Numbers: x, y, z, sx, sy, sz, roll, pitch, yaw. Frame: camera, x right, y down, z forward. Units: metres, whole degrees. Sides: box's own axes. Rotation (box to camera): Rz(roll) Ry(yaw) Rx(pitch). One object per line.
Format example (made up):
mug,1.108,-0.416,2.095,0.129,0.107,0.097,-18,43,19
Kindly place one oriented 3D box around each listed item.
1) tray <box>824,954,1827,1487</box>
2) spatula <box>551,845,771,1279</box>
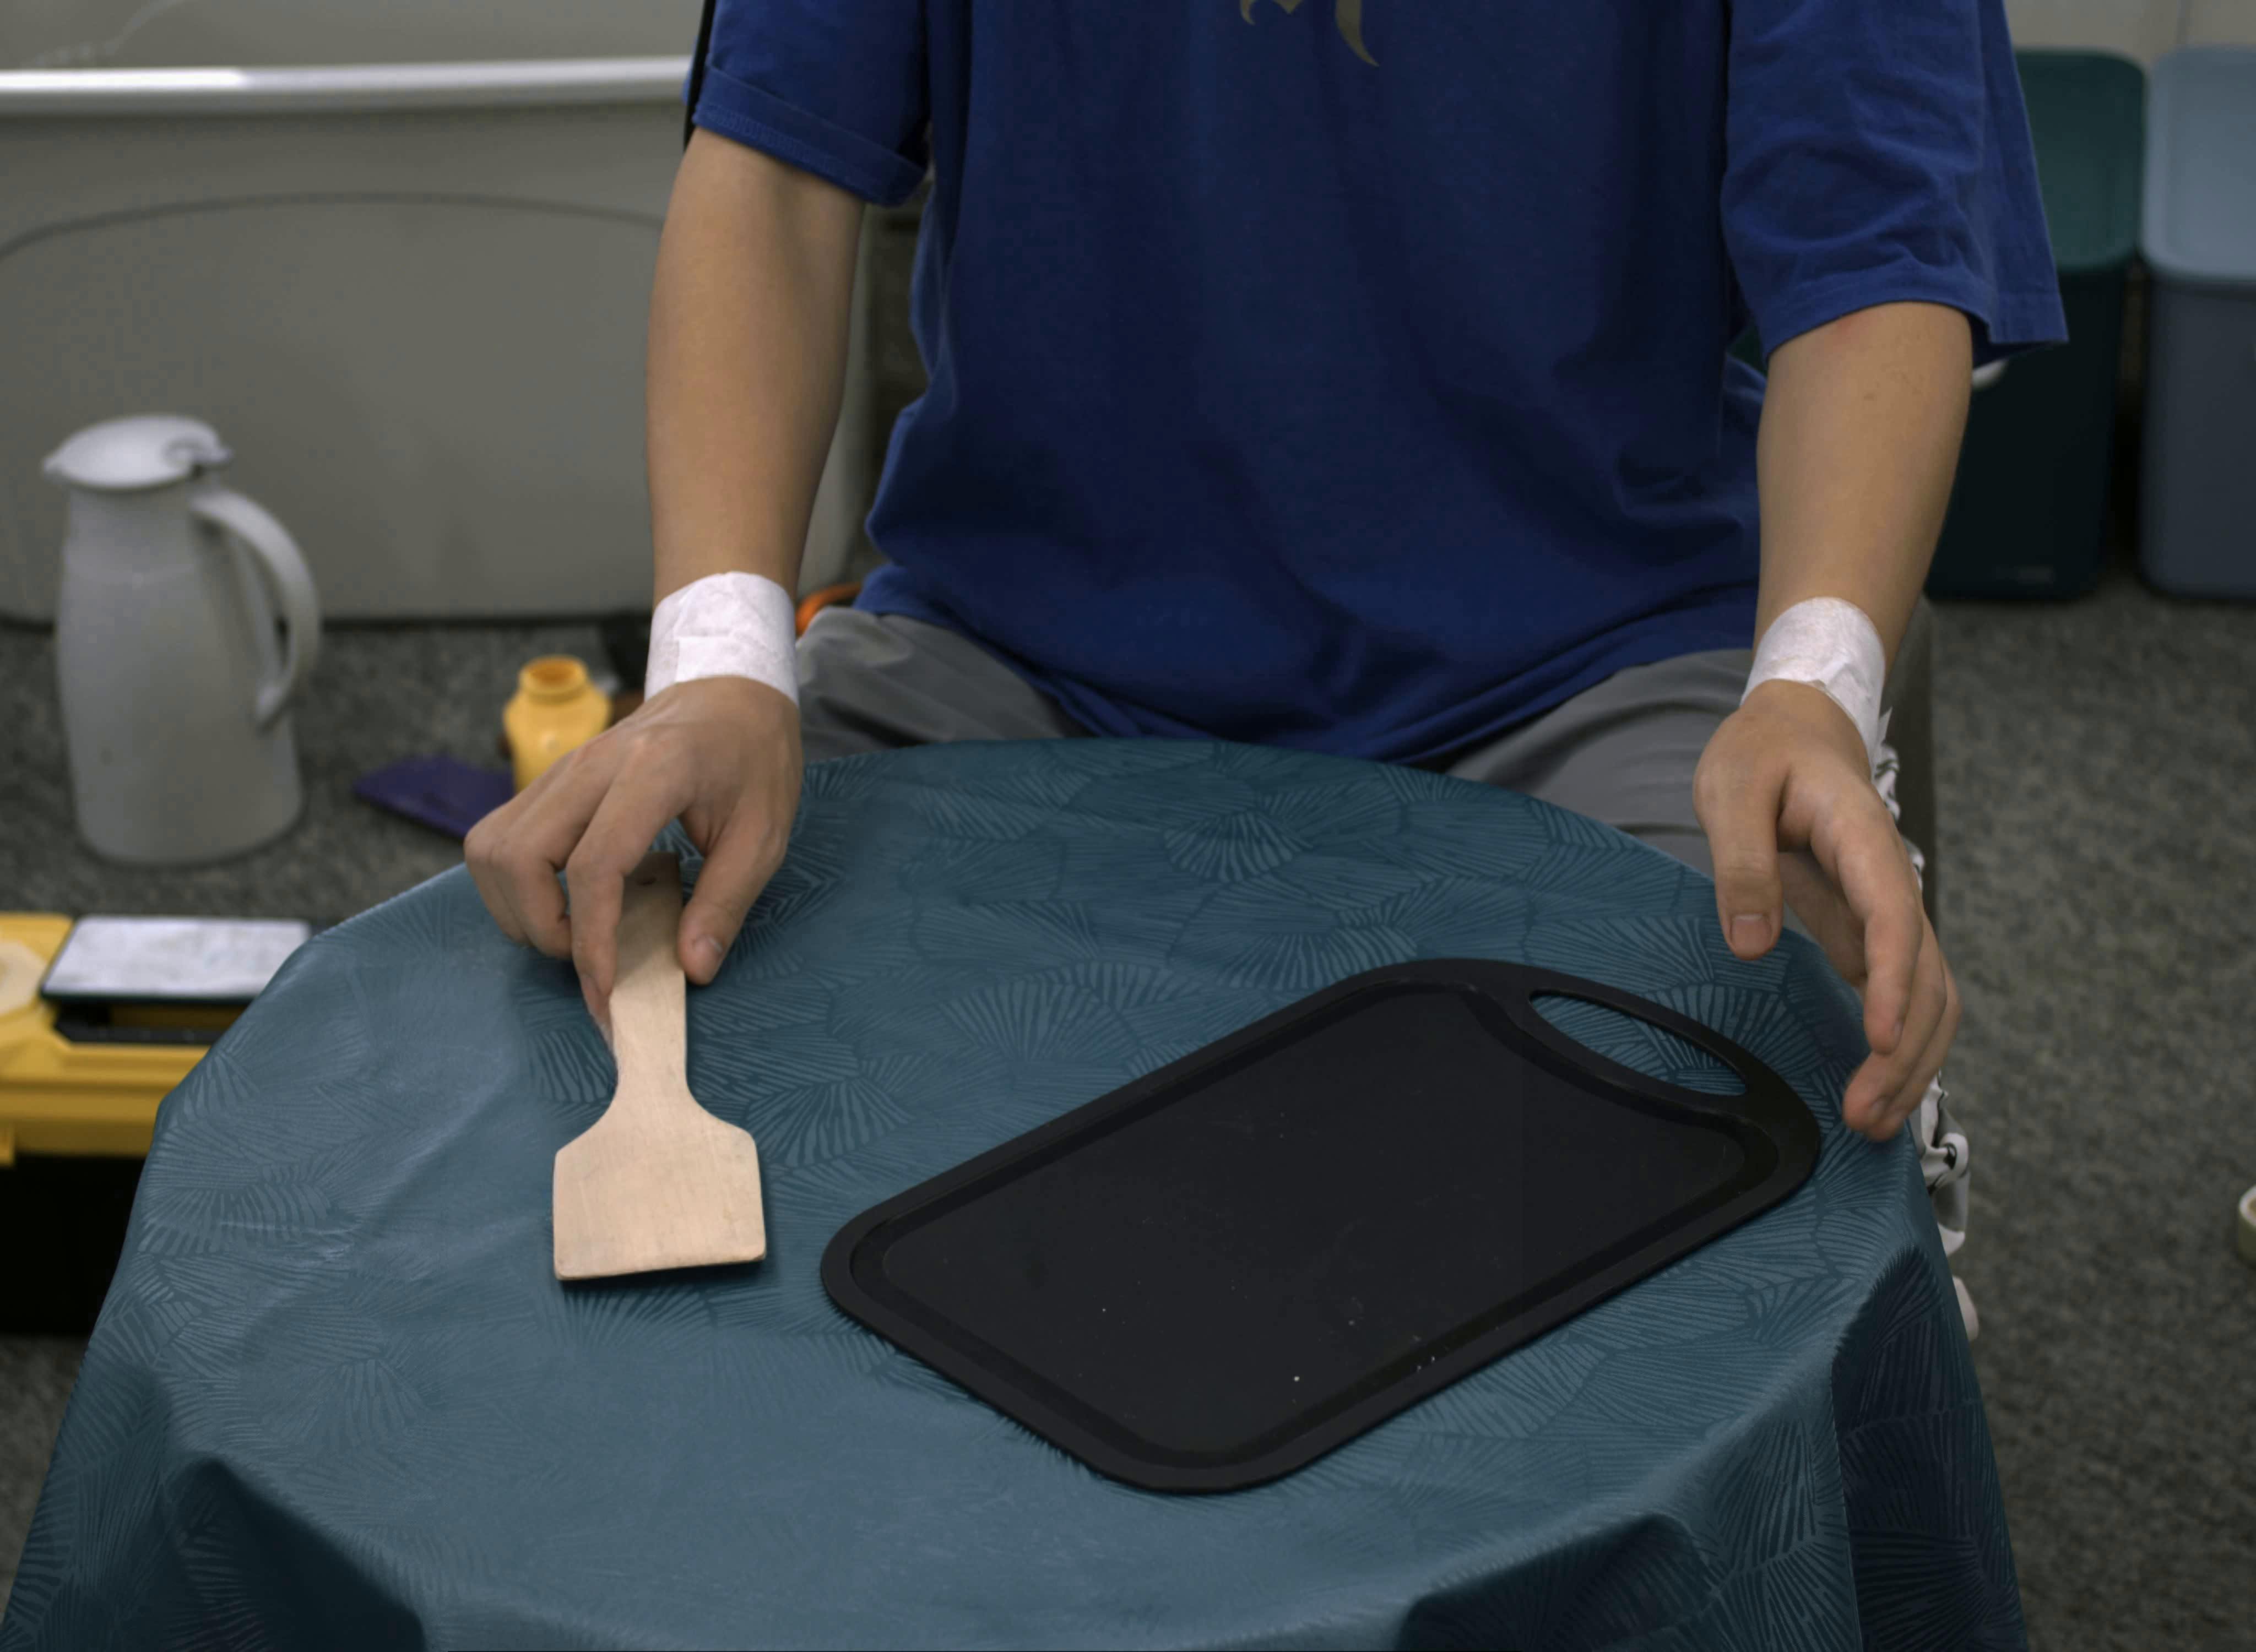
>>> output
tray,0.072,0.119,1.849,0.329,0.009,0.211,-24,34,-34
spatula,-0.166,0.078,1.951,0.072,0.010,0.297,-6,28,-3
